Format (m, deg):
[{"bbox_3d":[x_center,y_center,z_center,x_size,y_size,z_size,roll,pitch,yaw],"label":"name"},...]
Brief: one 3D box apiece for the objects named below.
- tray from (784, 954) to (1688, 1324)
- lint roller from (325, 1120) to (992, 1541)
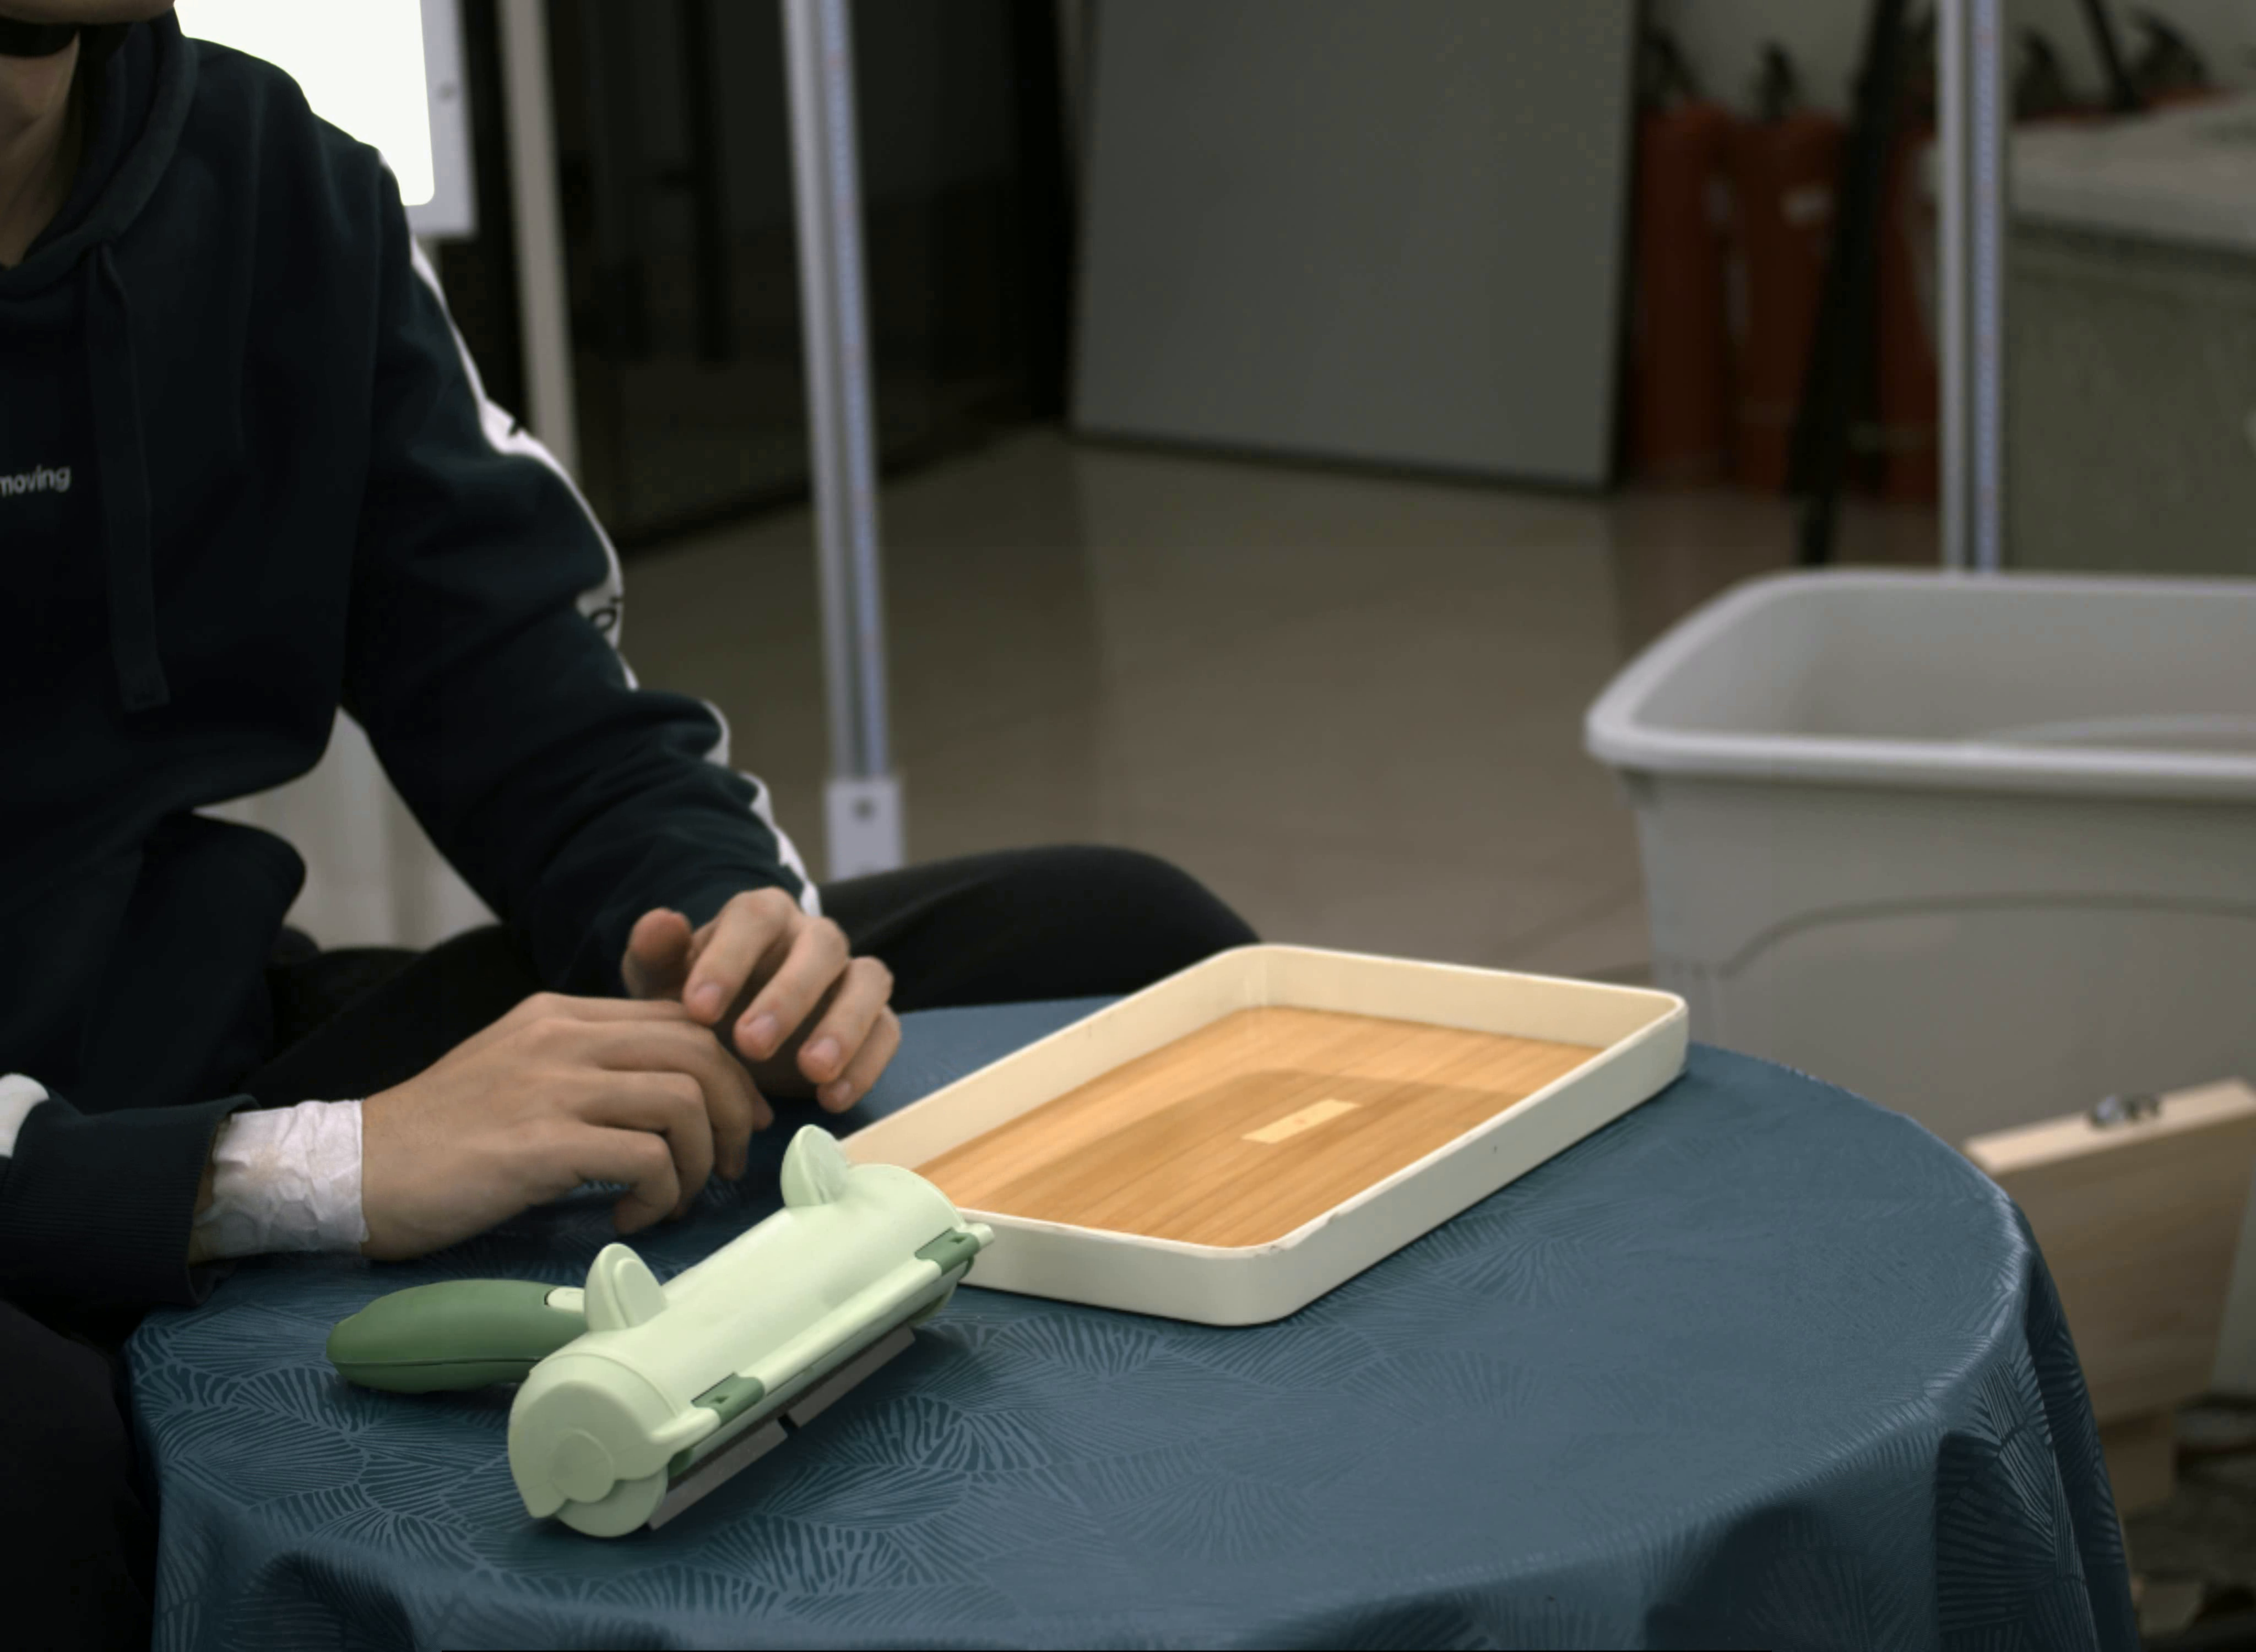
[{"bbox_3d":[0.042,0.099,1.792,0.192,0.028,0.295,5,16,34],"label":"tray"},{"bbox_3d":[-0.160,0.137,1.594,0.183,0.083,0.196,8,17,26],"label":"lint roller"}]
